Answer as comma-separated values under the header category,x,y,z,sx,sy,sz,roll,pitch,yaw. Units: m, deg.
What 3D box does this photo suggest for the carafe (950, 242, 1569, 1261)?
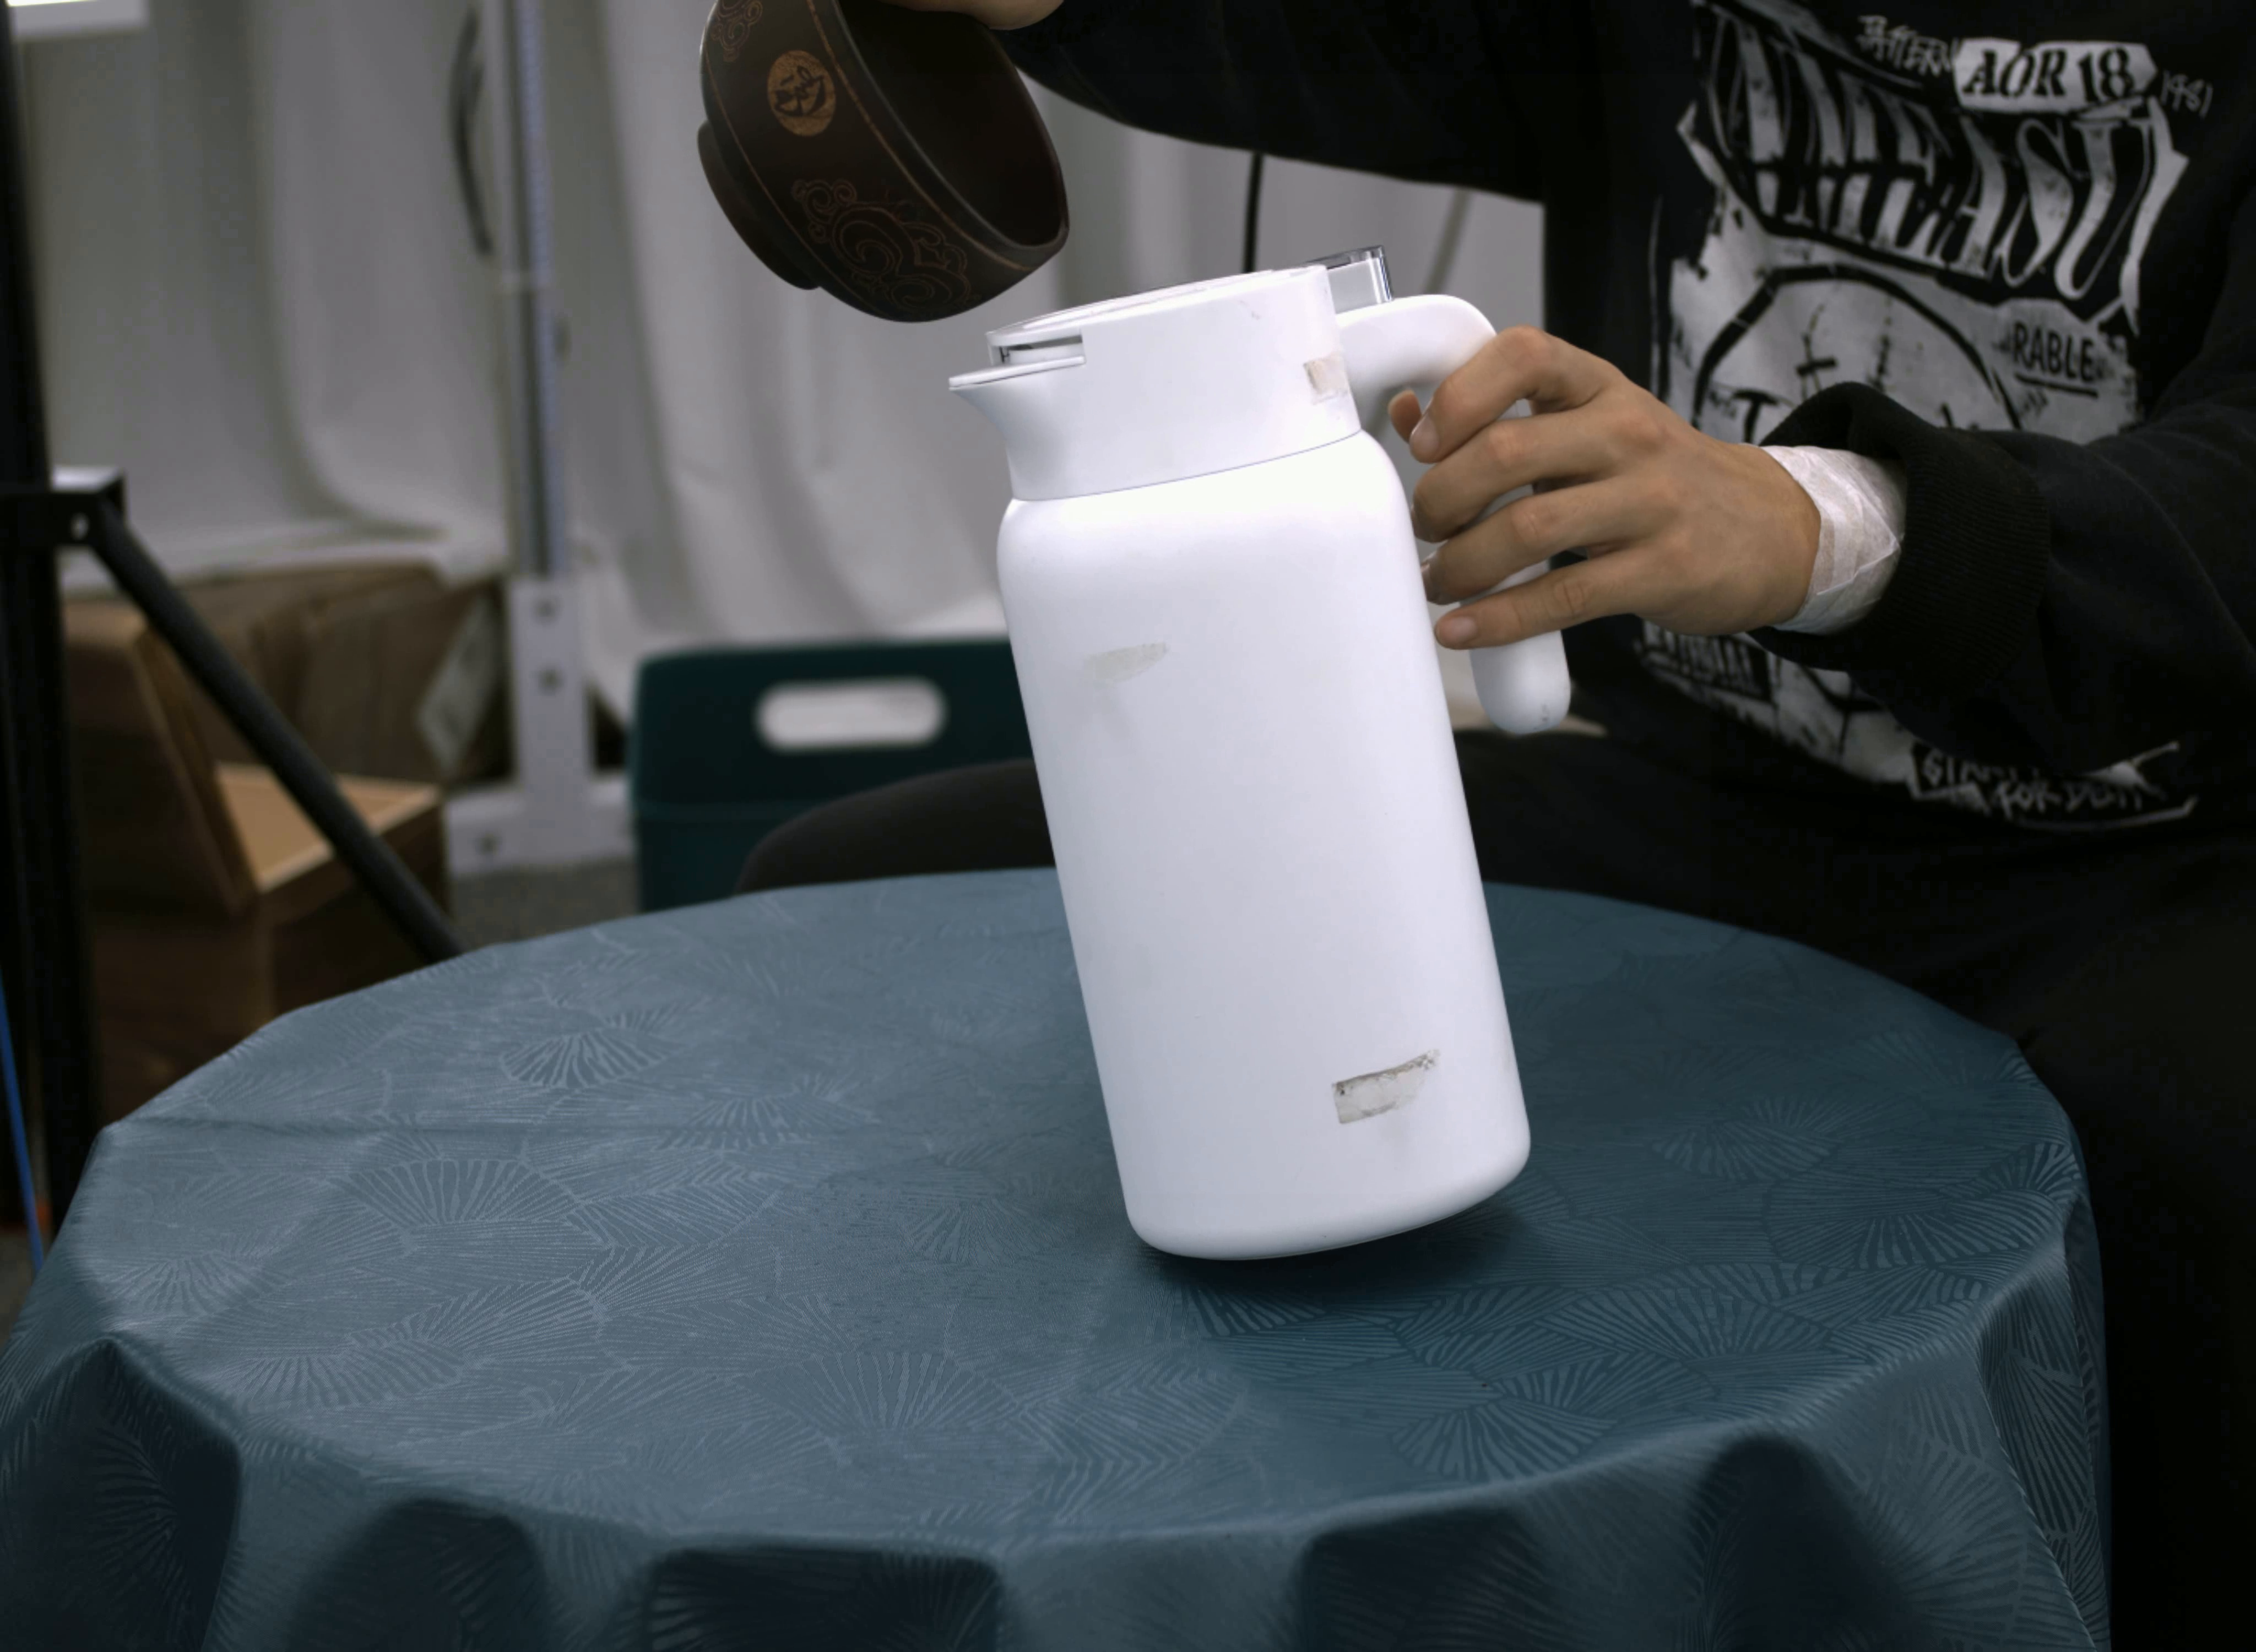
category,x,y,z,sx,sy,sz,roll,pitch,yaw
carafe,0.048,-0.024,1.498,0.169,0.269,0.126,-16,6,-29

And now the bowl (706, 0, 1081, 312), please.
category,x,y,z,sx,sy,sz,roll,pitch,yaw
bowl,-0.075,-0.197,1.507,0.070,0.118,0.117,-31,4,23
